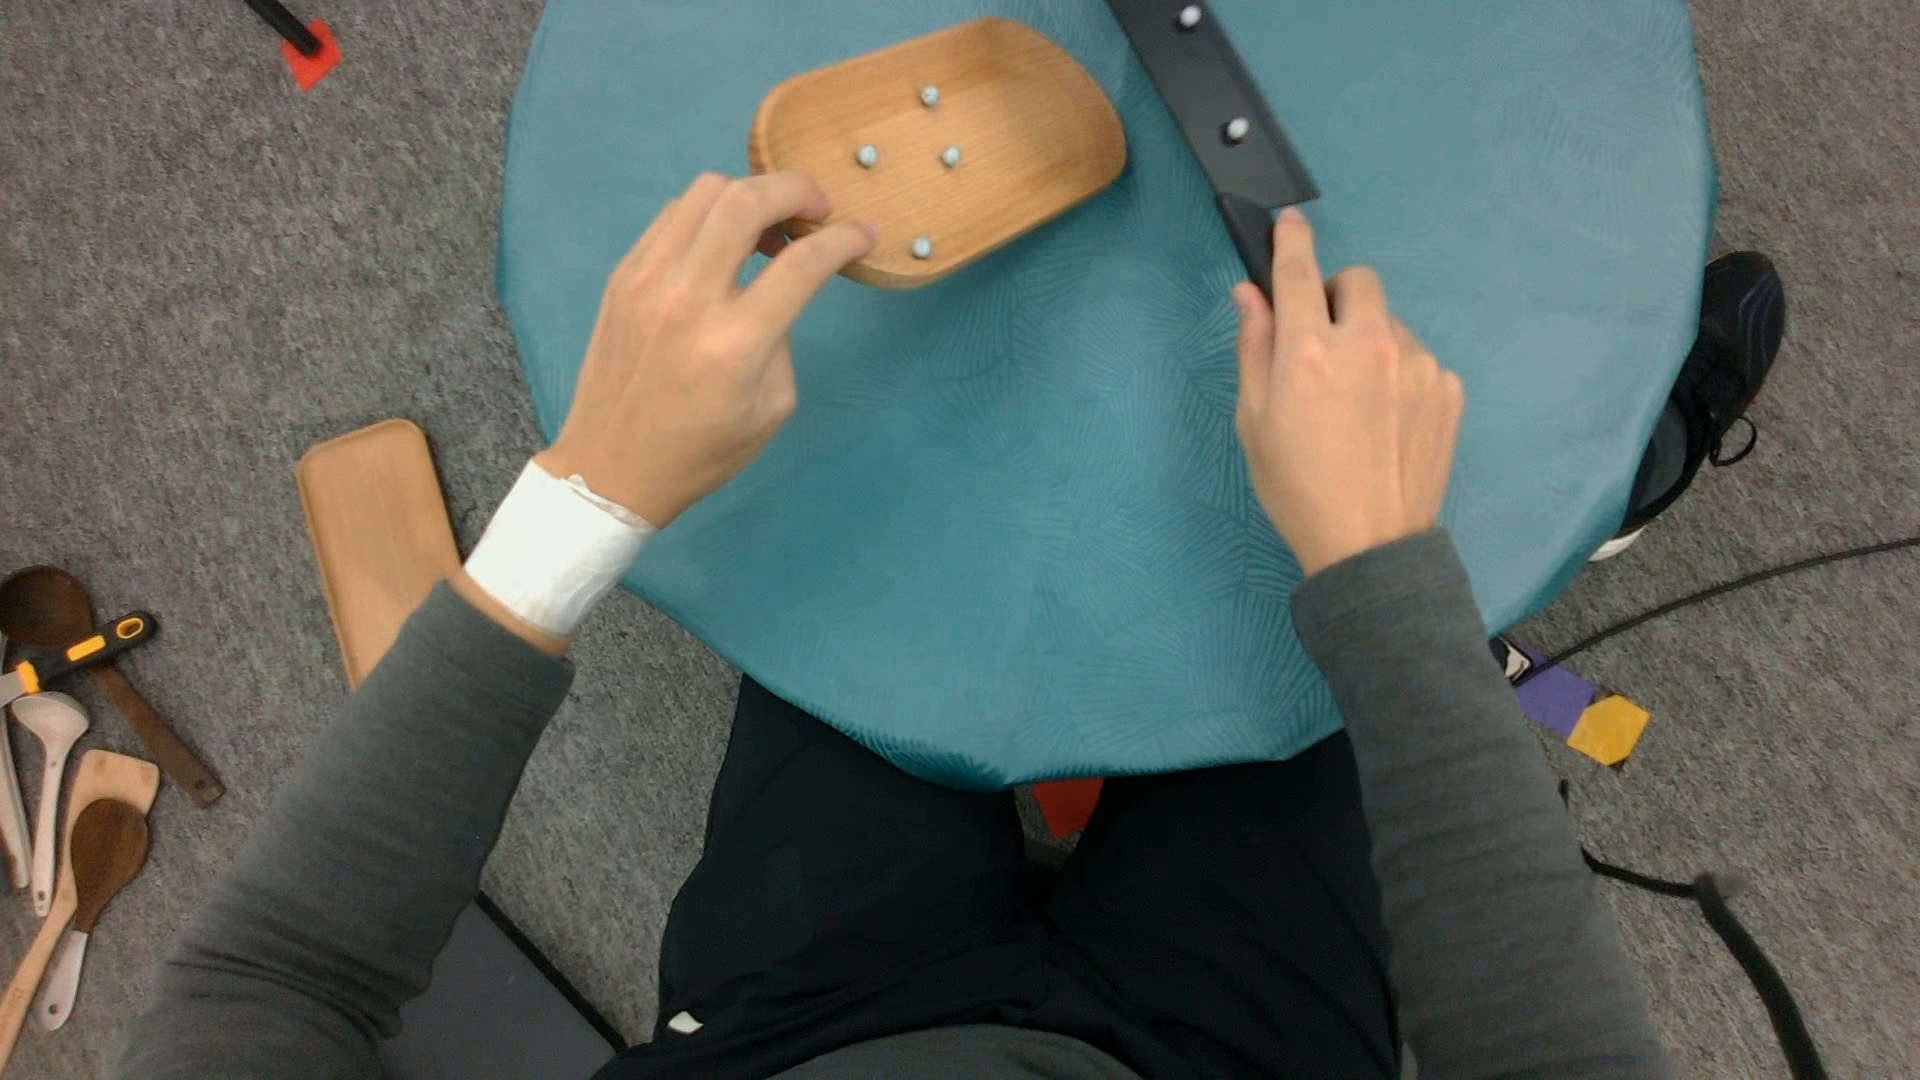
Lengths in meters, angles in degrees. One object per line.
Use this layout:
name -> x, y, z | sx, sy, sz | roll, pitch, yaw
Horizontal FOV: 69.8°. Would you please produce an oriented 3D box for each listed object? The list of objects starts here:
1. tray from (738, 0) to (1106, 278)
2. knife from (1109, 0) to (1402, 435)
tray -> -0.010, -0.183, 0.611 | 0.101, 0.020, 0.232 | 49, 45, -2
knife -> 0.124, -0.183, 0.624 | 0.081, 0.021, 0.302 | -14, 75, -32
